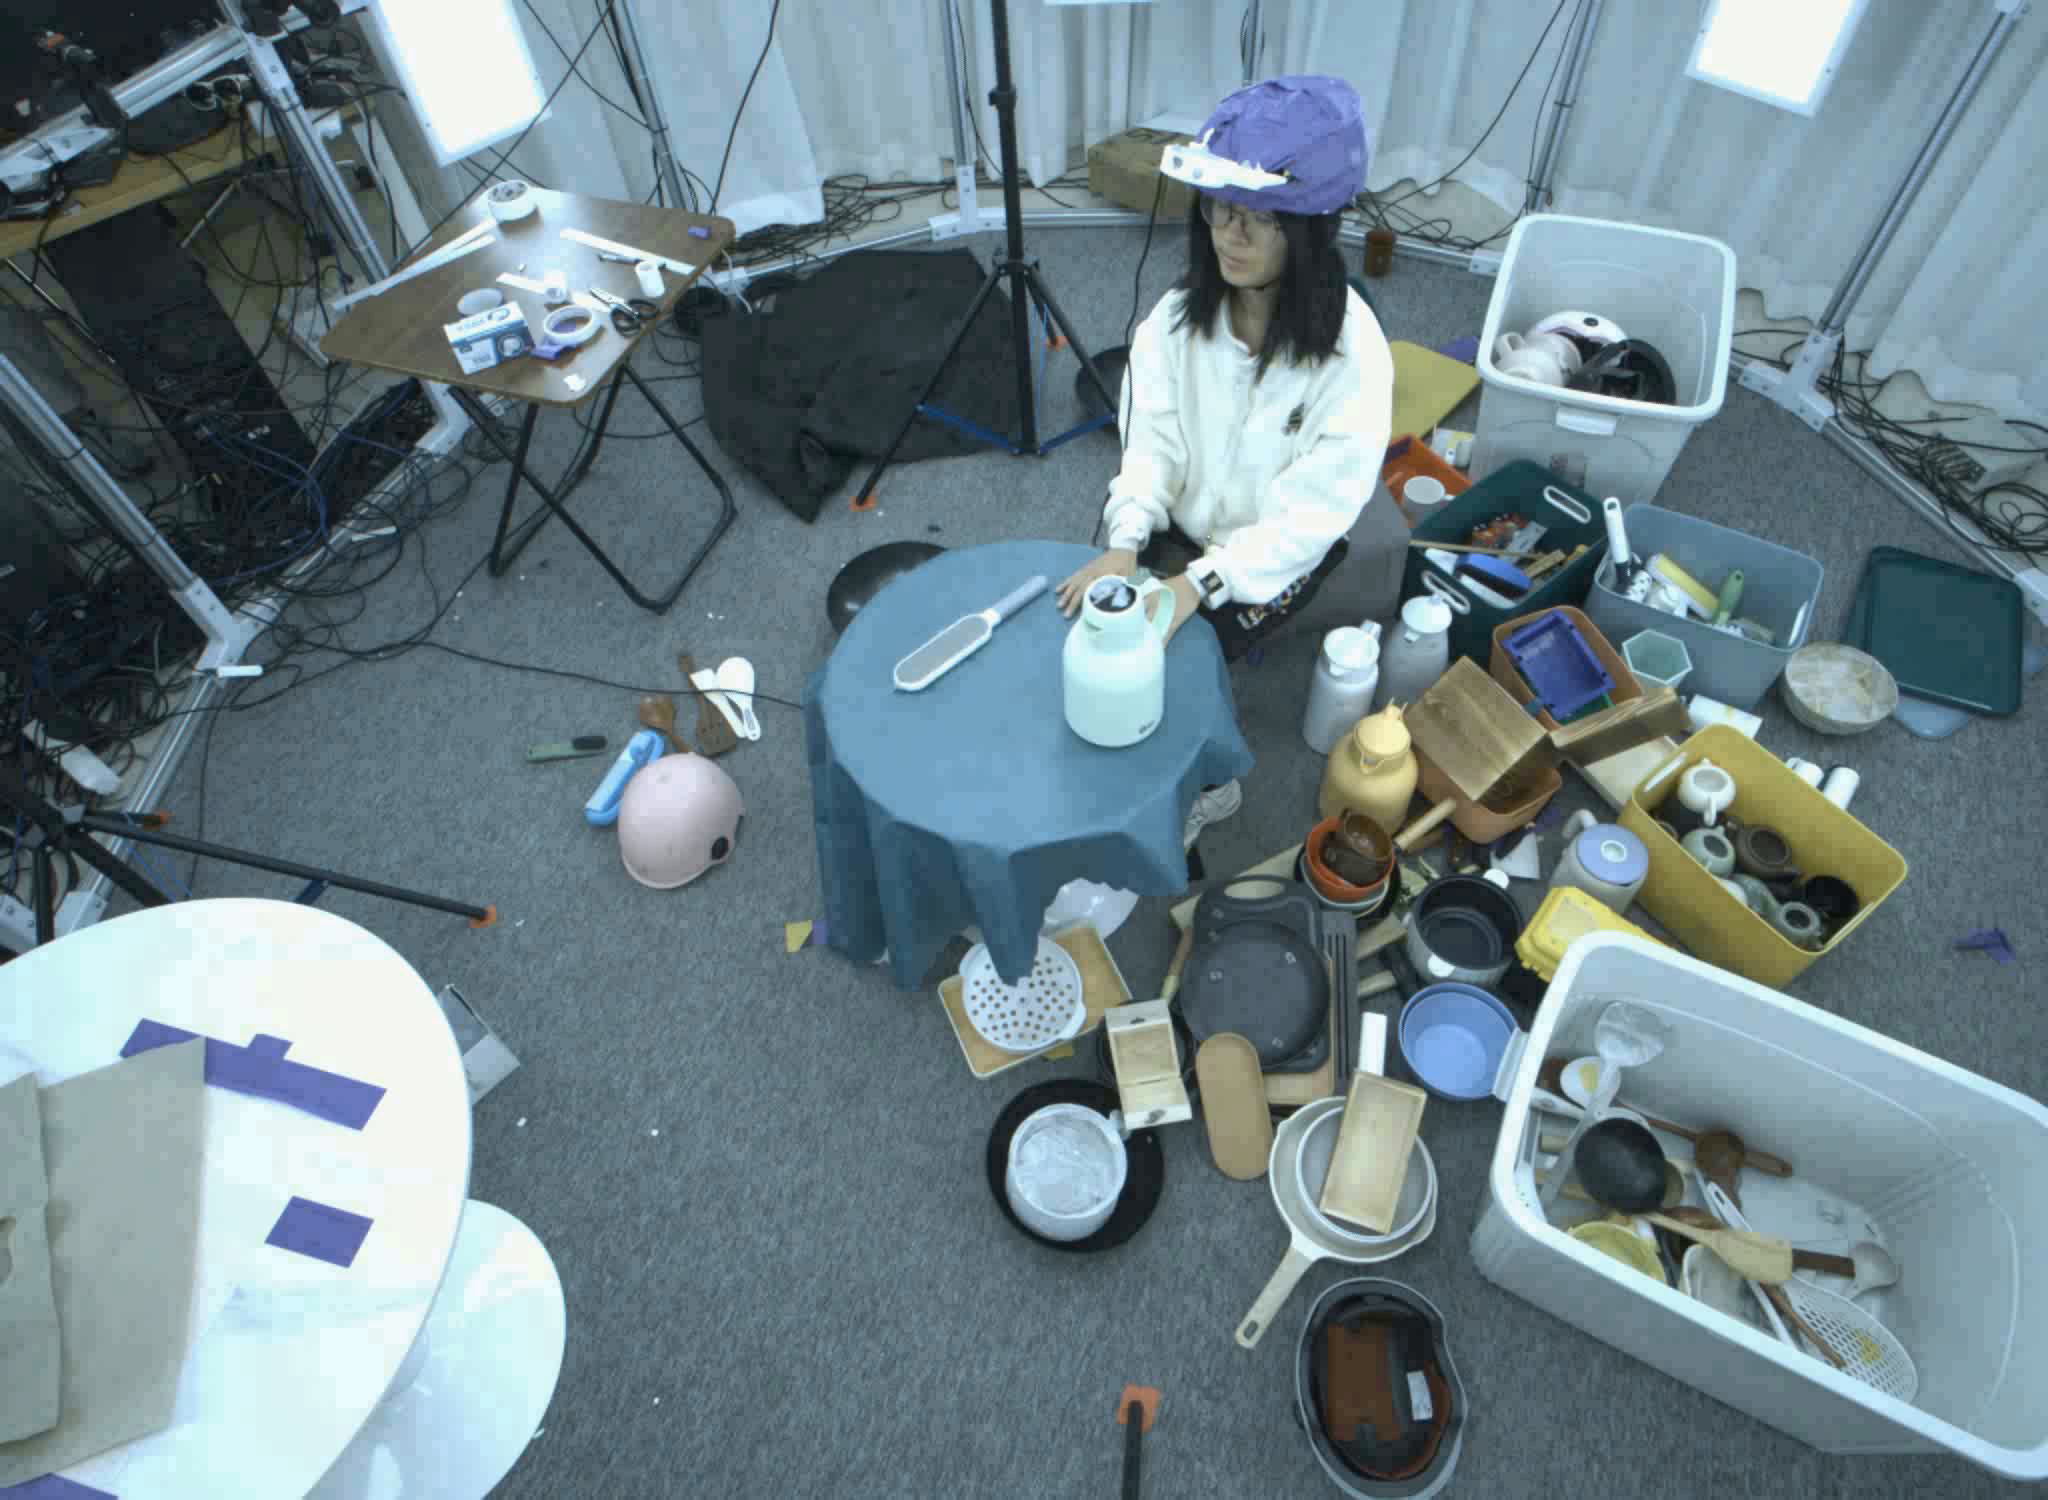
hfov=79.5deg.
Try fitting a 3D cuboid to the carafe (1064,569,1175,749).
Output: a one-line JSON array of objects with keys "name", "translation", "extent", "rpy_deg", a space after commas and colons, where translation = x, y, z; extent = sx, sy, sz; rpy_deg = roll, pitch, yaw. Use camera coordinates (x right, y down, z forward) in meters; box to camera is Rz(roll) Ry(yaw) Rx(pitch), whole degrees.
[{"name": "carafe", "translation": [0.136, -0.135, 1.725], "extent": [0.188, 0.259, 0.141], "rpy_deg": [-37, 58, -25]}]

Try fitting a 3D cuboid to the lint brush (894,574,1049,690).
[{"name": "lint brush", "translation": [-0.077, -0.187, 1.908], "extent": [0.311, 0.021, 0.059], "rpy_deg": [-38, 60, -23]}]
